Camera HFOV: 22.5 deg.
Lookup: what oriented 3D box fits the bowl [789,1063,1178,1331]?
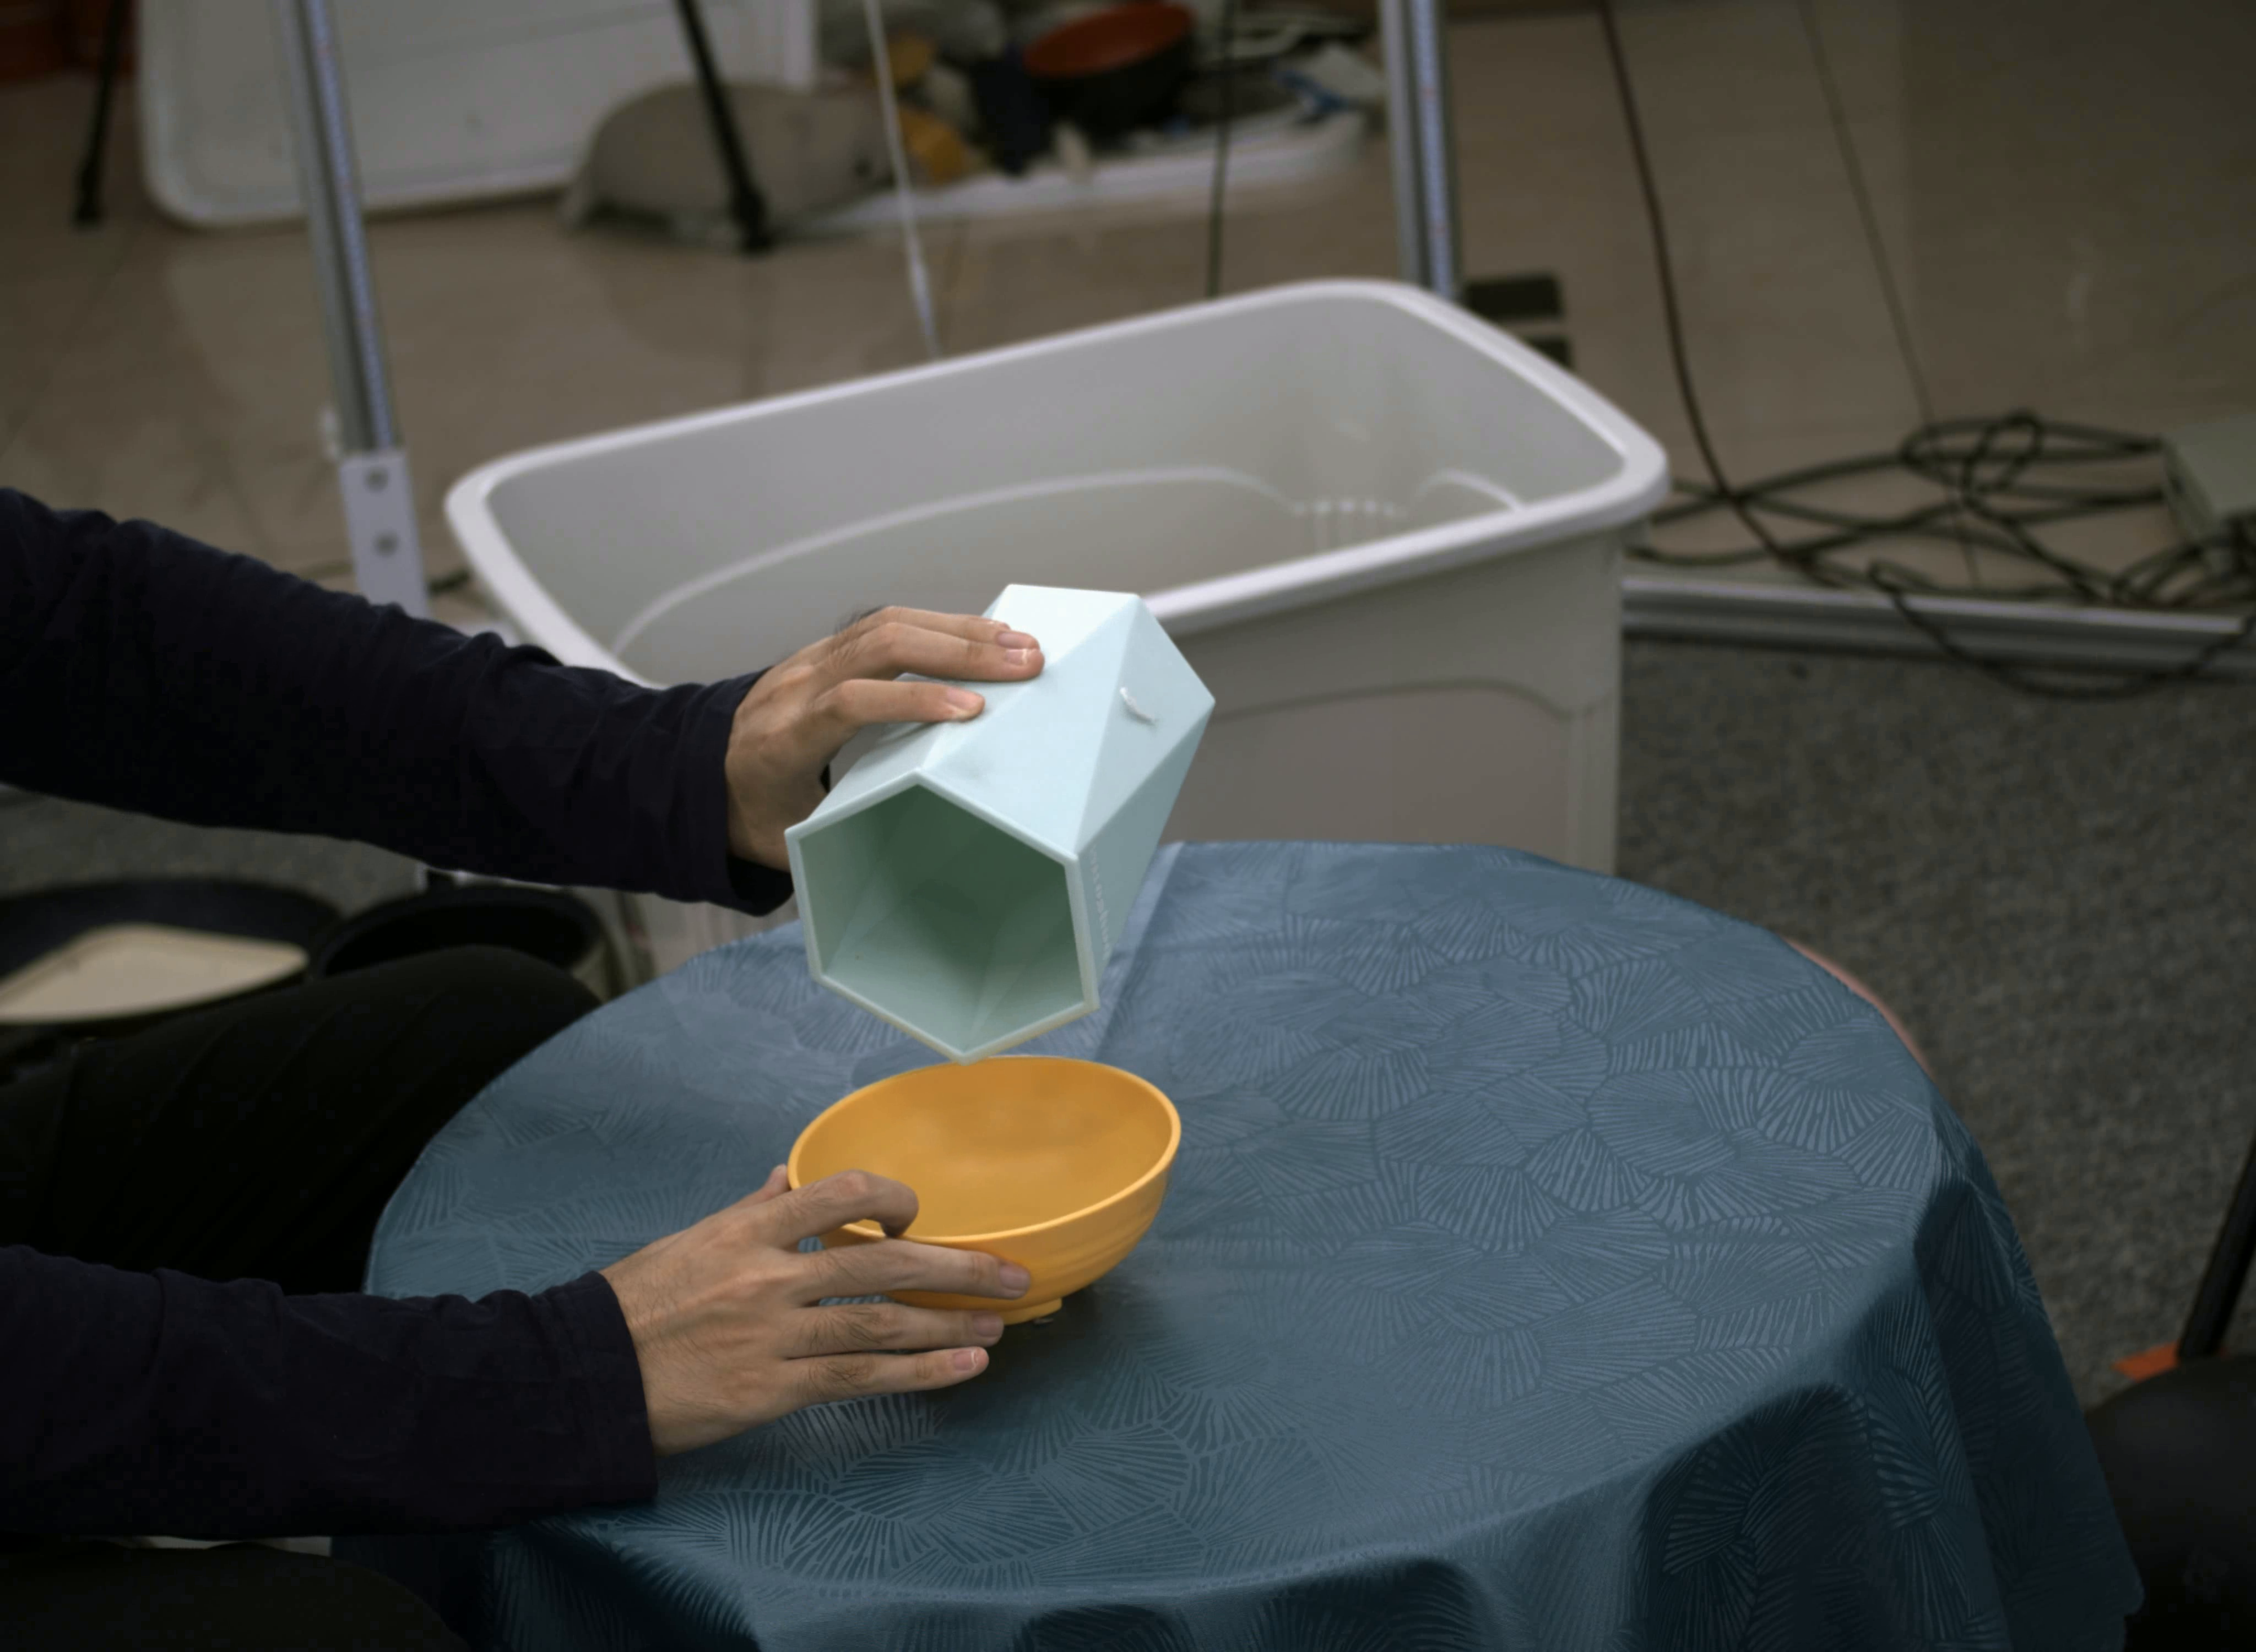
[{"bbox_3d":[-0.050,0.144,2.082,0.145,0.061,0.143,-7,24,3],"label":"bowl"}]

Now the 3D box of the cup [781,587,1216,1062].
[{"bbox_3d":[-0.041,-0.010,2.112,0.115,0.133,0.160,5,34,22],"label":"cup"}]
